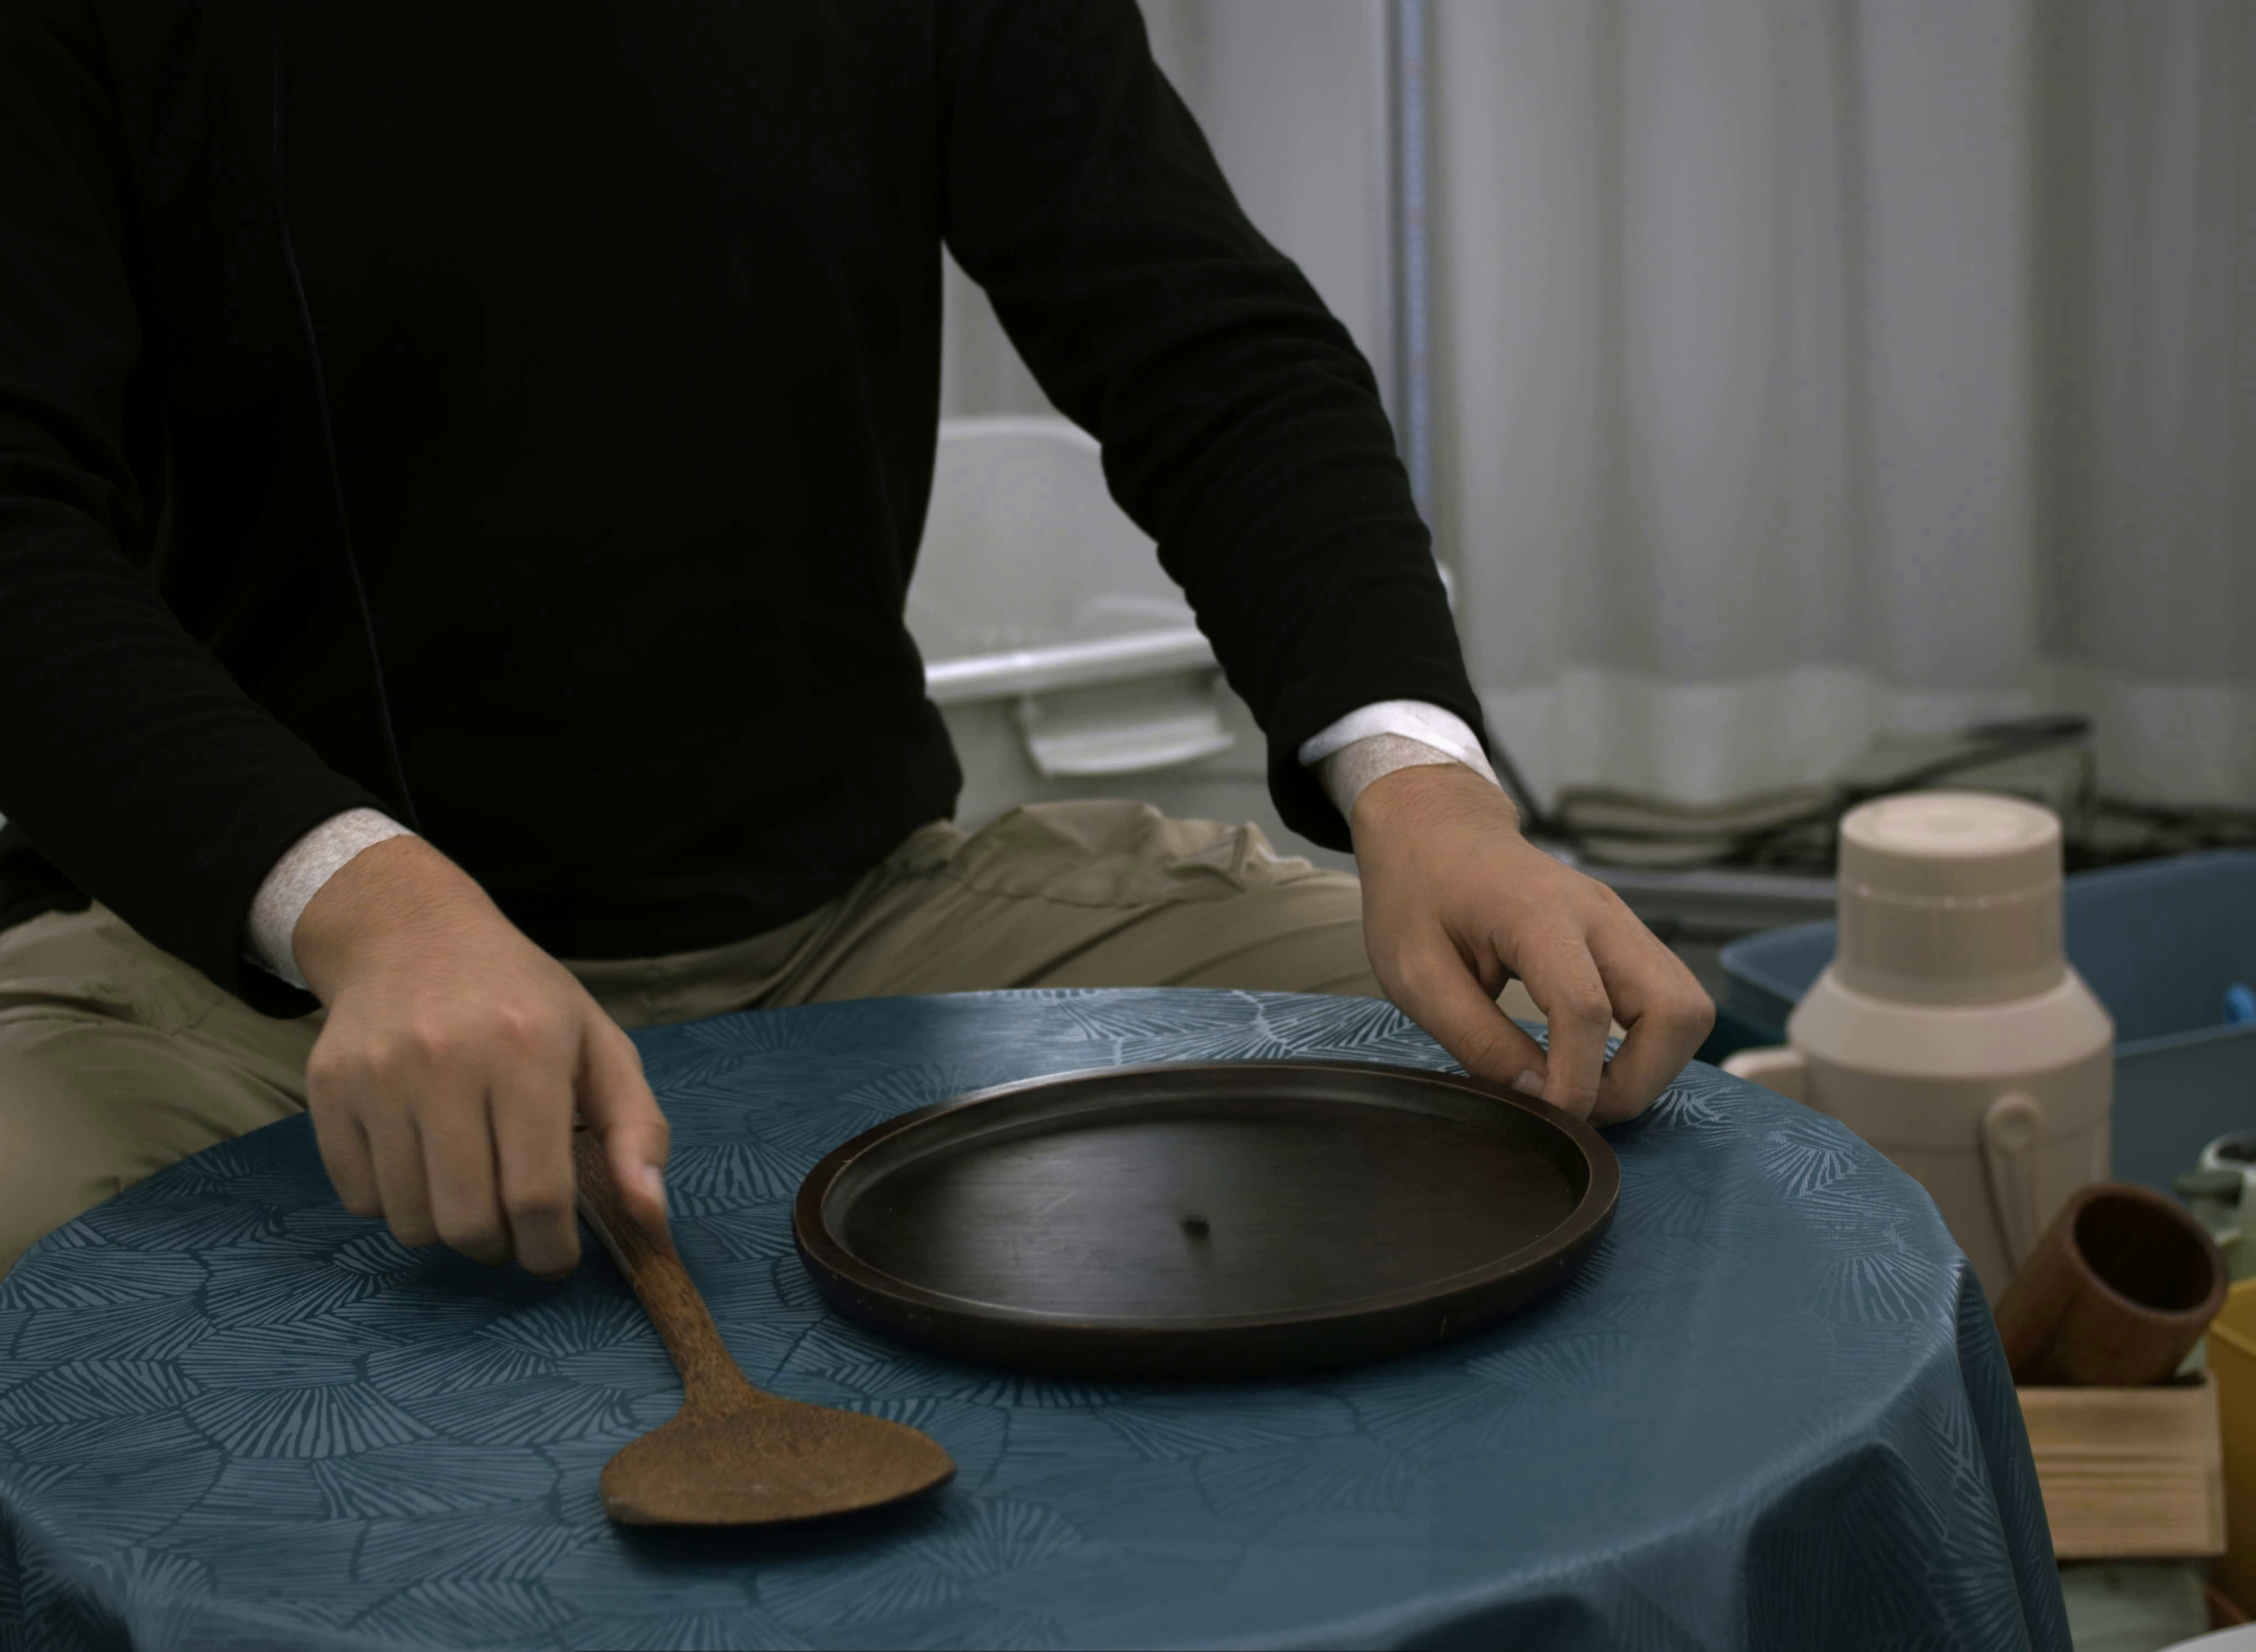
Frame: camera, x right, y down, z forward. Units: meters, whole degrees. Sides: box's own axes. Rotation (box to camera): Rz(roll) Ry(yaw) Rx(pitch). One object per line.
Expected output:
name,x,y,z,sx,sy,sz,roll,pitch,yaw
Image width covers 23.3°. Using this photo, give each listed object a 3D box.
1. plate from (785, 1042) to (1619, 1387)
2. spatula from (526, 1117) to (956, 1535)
plate,0.023,0.117,1.653,0.254,0.029,0.256,-4,15,1
spatula,-0.136,0.141,1.614,0.095,0.016,0.389,-6,15,-14
